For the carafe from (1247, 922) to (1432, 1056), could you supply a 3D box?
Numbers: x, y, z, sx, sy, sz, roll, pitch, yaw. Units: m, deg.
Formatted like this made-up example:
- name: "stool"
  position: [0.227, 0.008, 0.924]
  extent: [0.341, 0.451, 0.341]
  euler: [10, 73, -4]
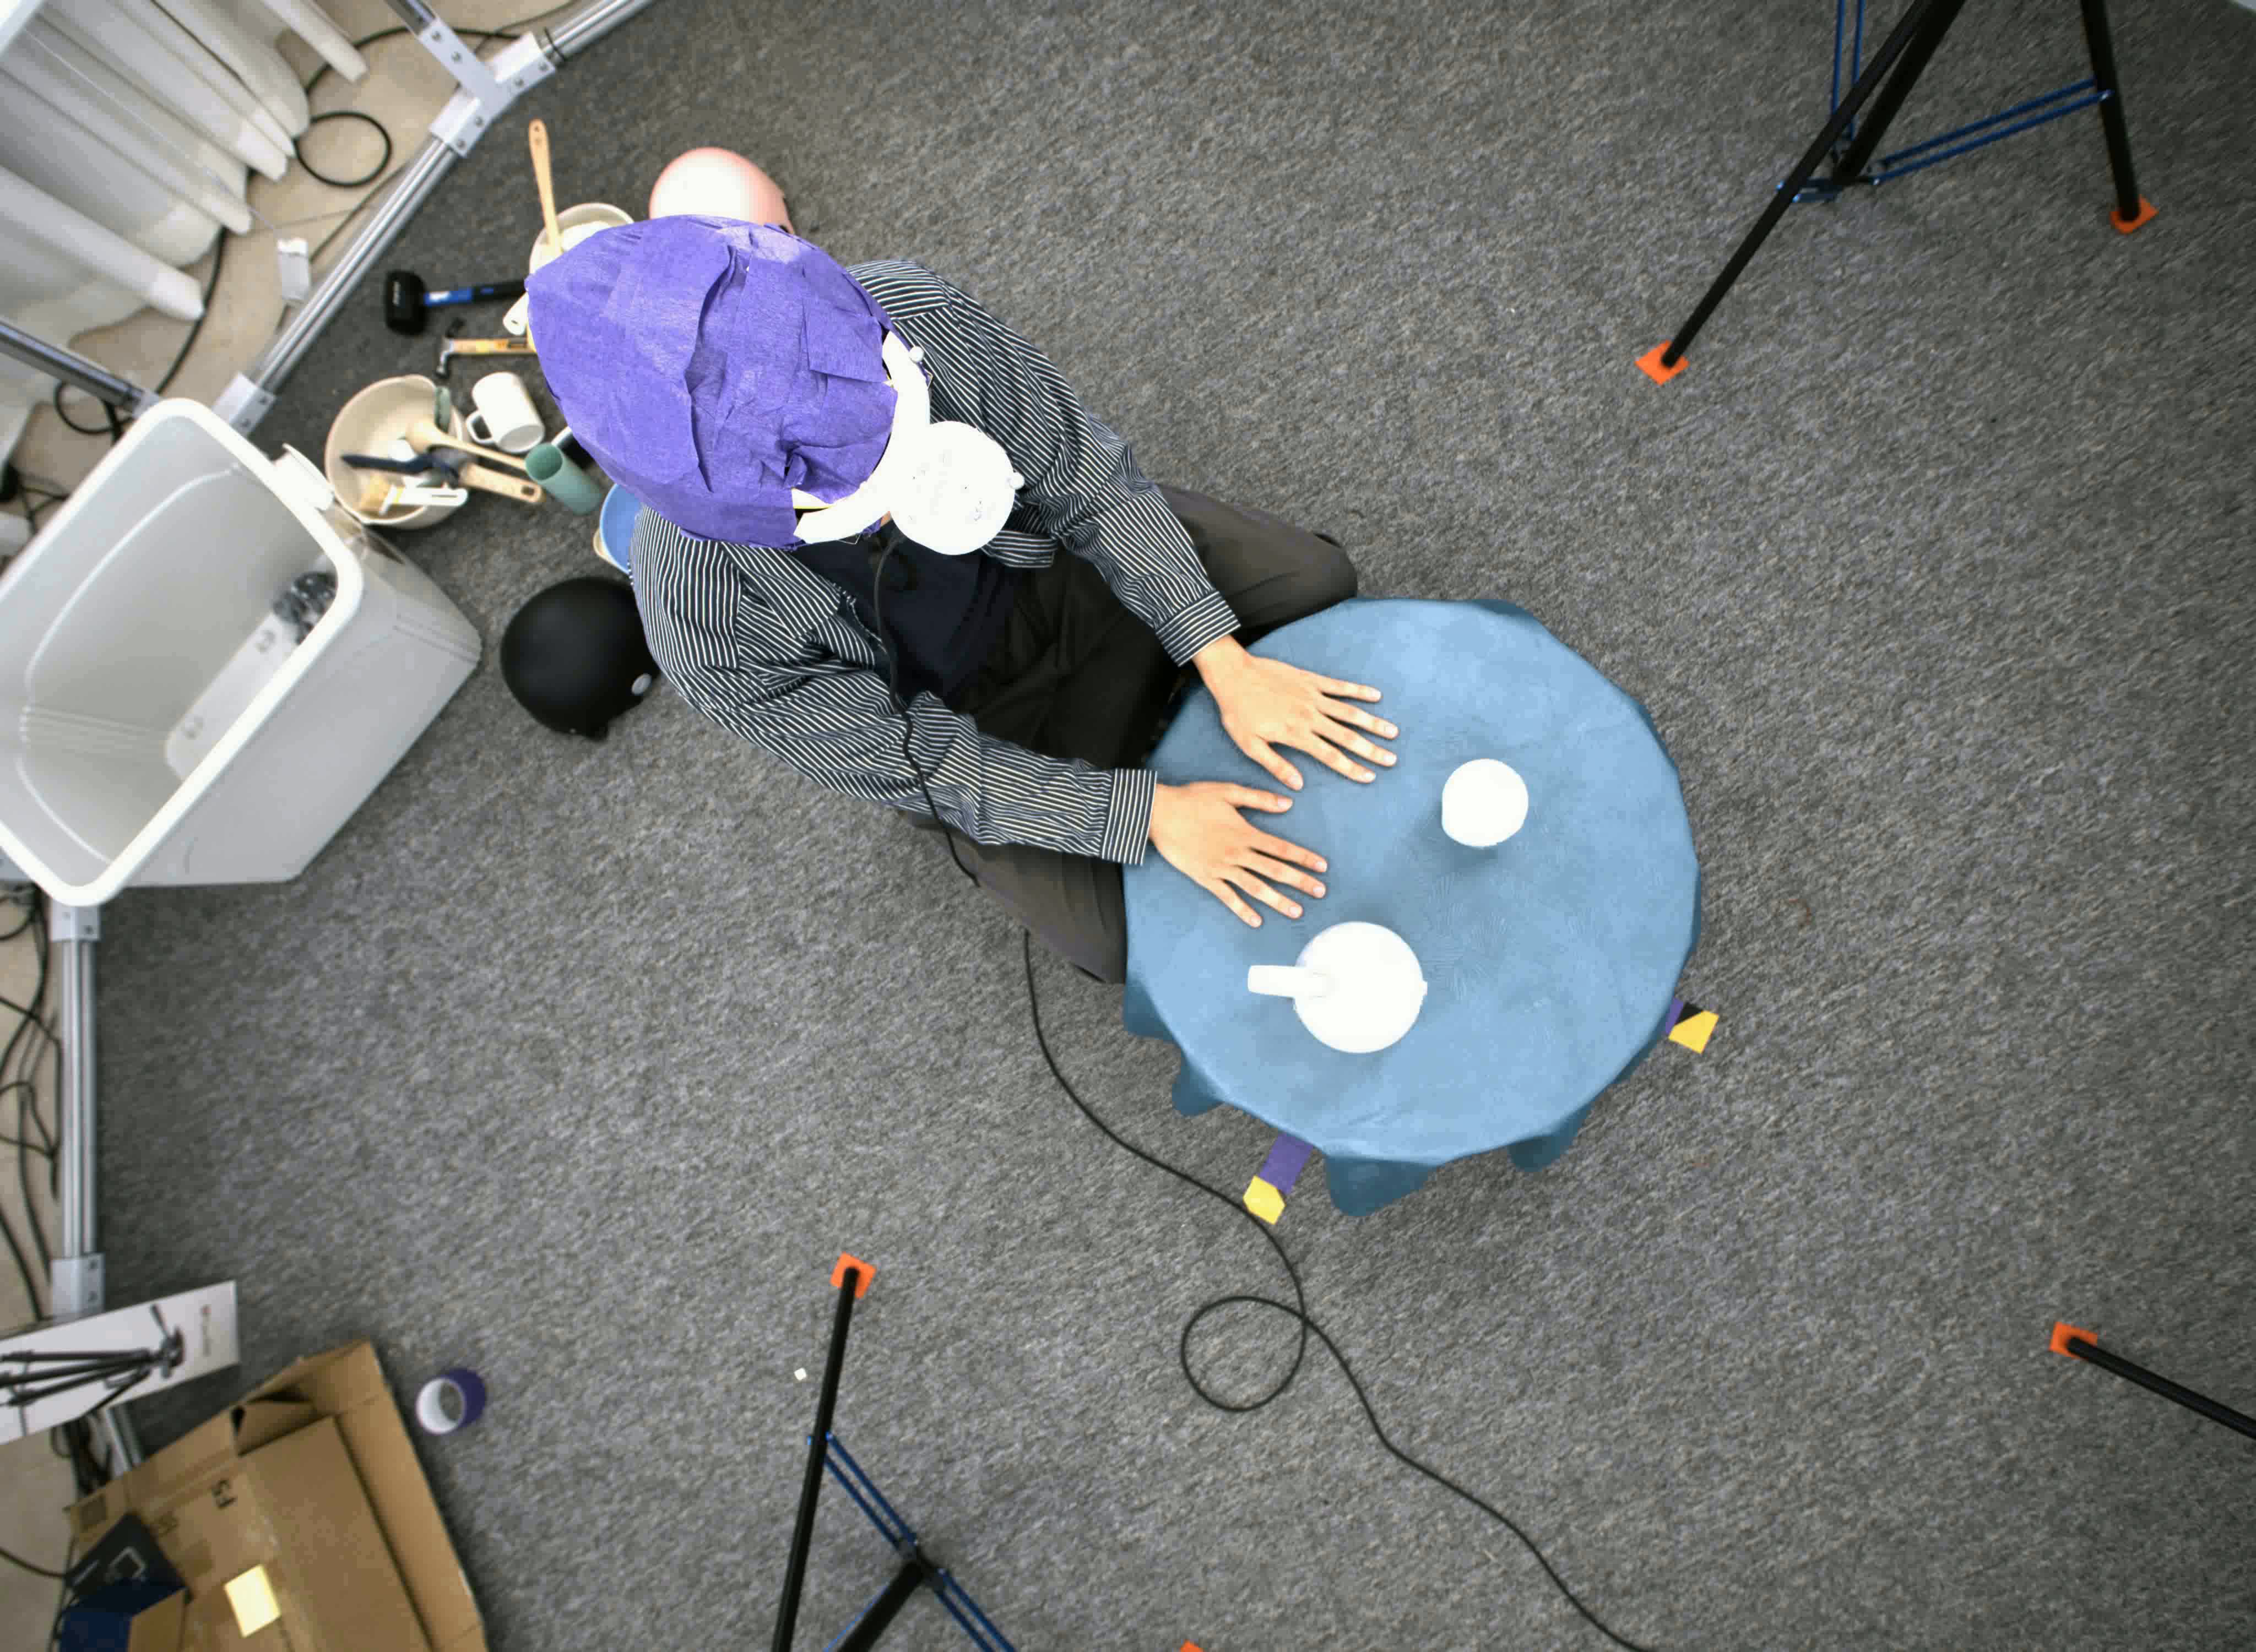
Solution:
- name: "carafe"
  position: [0.199, 0.158, 1.327]
  extent: [0.168, 0.248, 0.132]
  euler: [-3, 87, 7]

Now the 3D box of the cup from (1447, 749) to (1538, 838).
- name: "cup"
  position: [0.360, -0.030, 1.370]
  extent: [0.082, 0.125, 0.081]
  euler: [-1, 86, 10]
